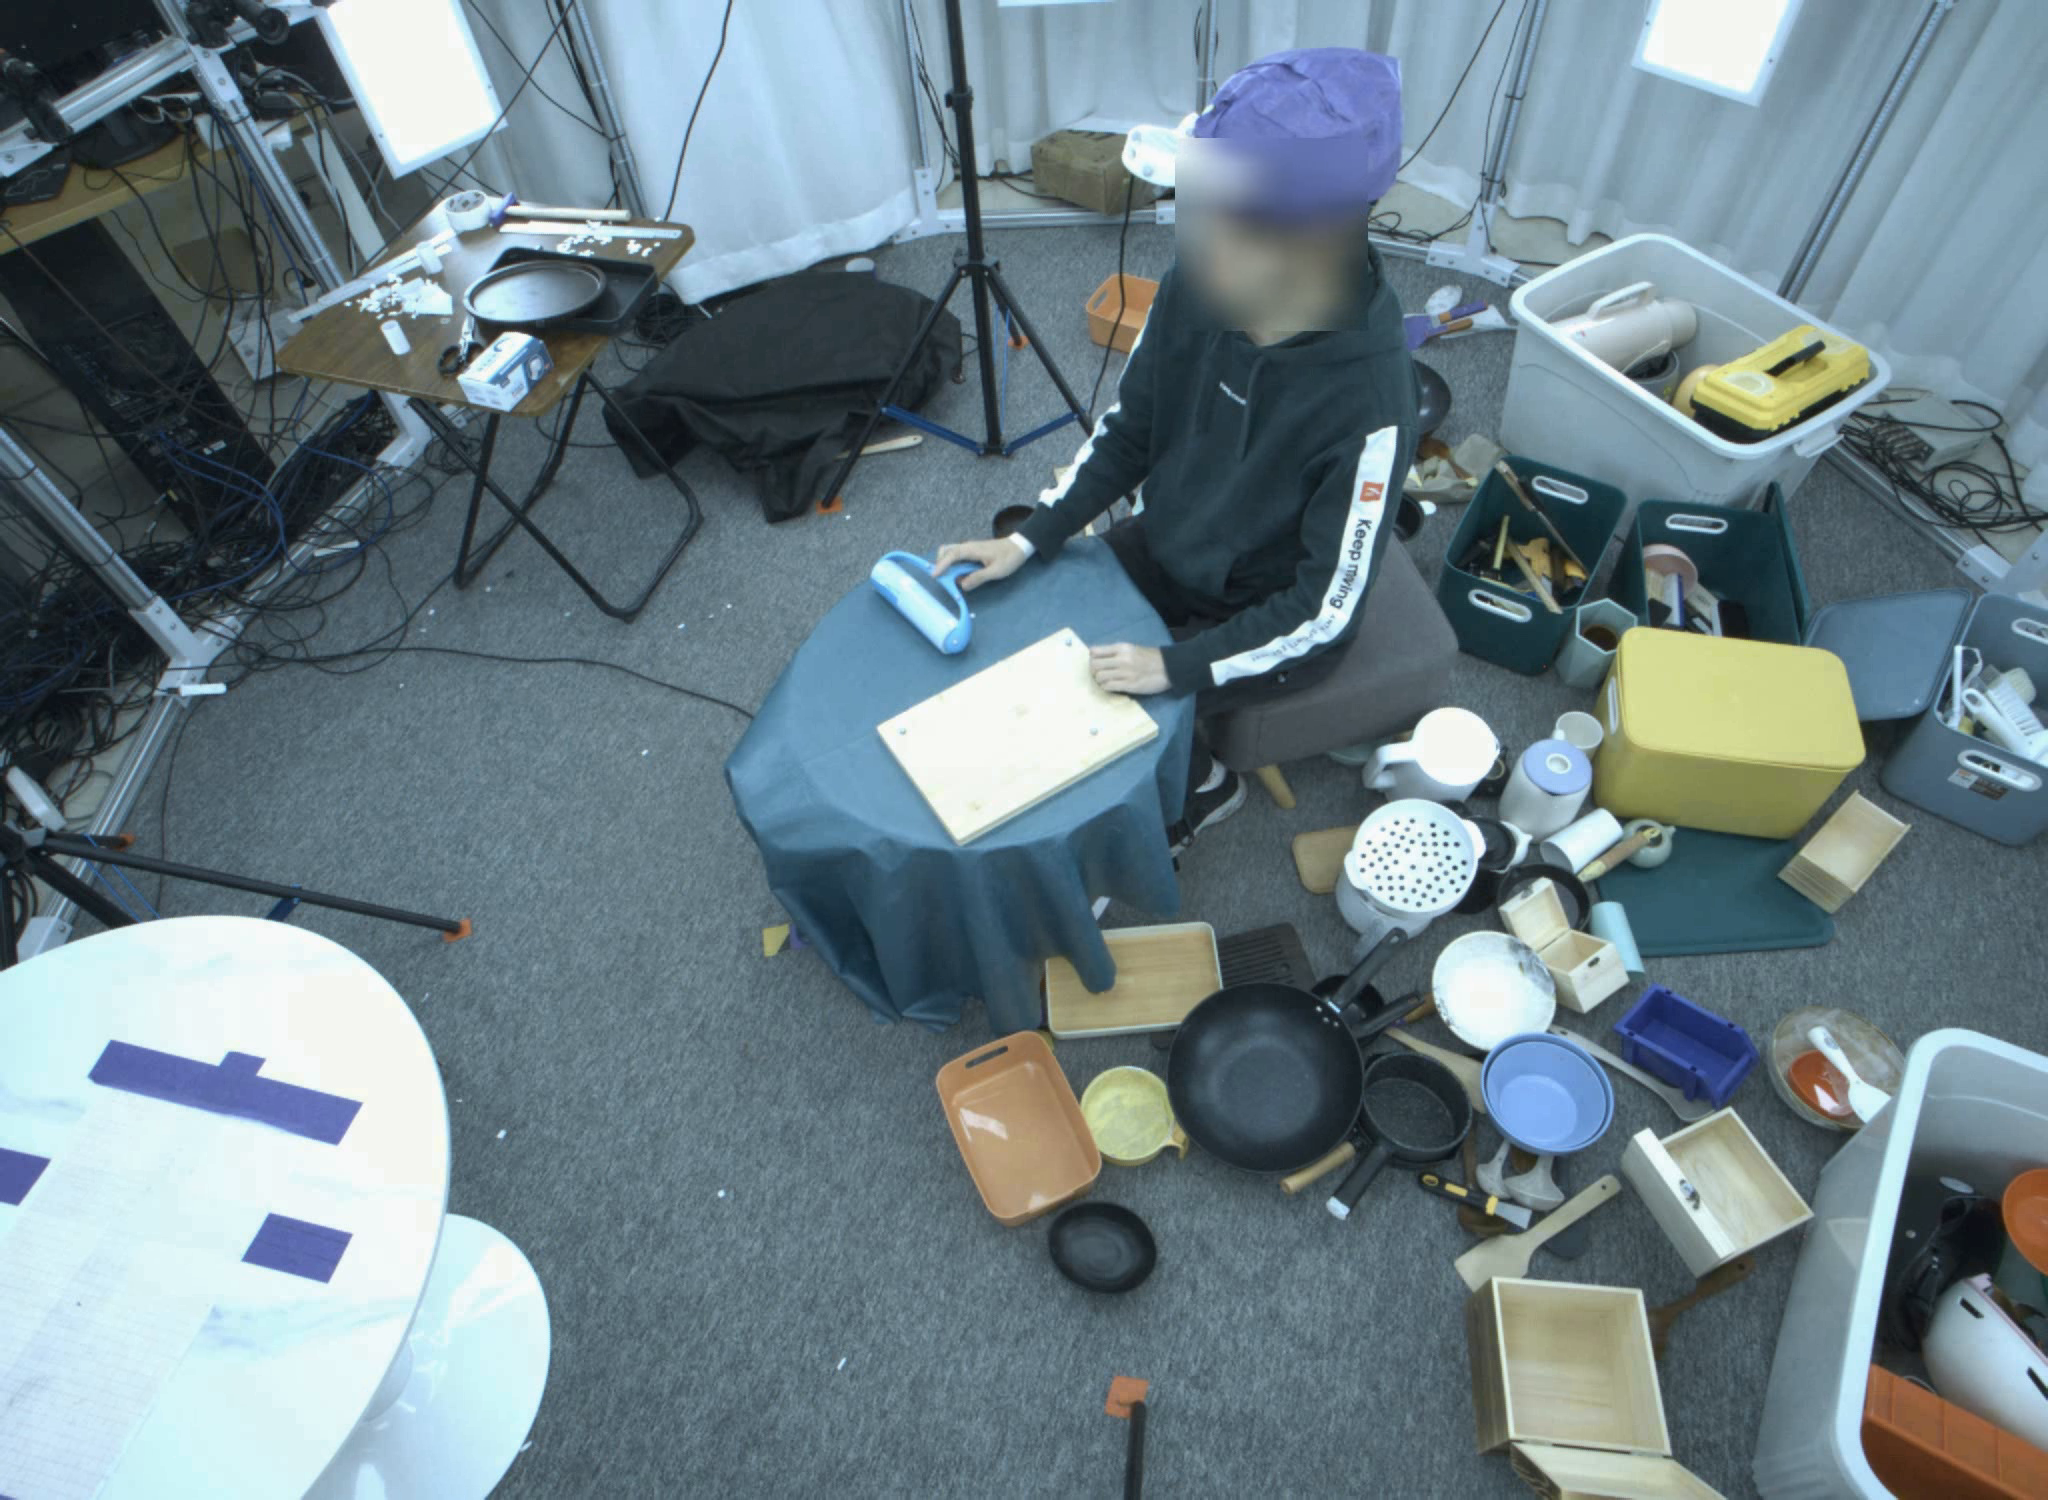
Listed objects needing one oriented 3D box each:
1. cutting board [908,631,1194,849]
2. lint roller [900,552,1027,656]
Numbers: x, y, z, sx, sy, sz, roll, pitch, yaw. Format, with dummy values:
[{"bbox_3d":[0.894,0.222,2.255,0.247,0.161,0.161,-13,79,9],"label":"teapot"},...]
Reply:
[{"bbox_3d":[0.035,-0.024,1.789,0.351,0.024,0.246,-28,58,-17],"label":"cutting board"},{"bbox_3d":[-0.074,-0.257,1.933,0.181,0.069,0.224,-36,59,-20],"label":"lint roller"}]
